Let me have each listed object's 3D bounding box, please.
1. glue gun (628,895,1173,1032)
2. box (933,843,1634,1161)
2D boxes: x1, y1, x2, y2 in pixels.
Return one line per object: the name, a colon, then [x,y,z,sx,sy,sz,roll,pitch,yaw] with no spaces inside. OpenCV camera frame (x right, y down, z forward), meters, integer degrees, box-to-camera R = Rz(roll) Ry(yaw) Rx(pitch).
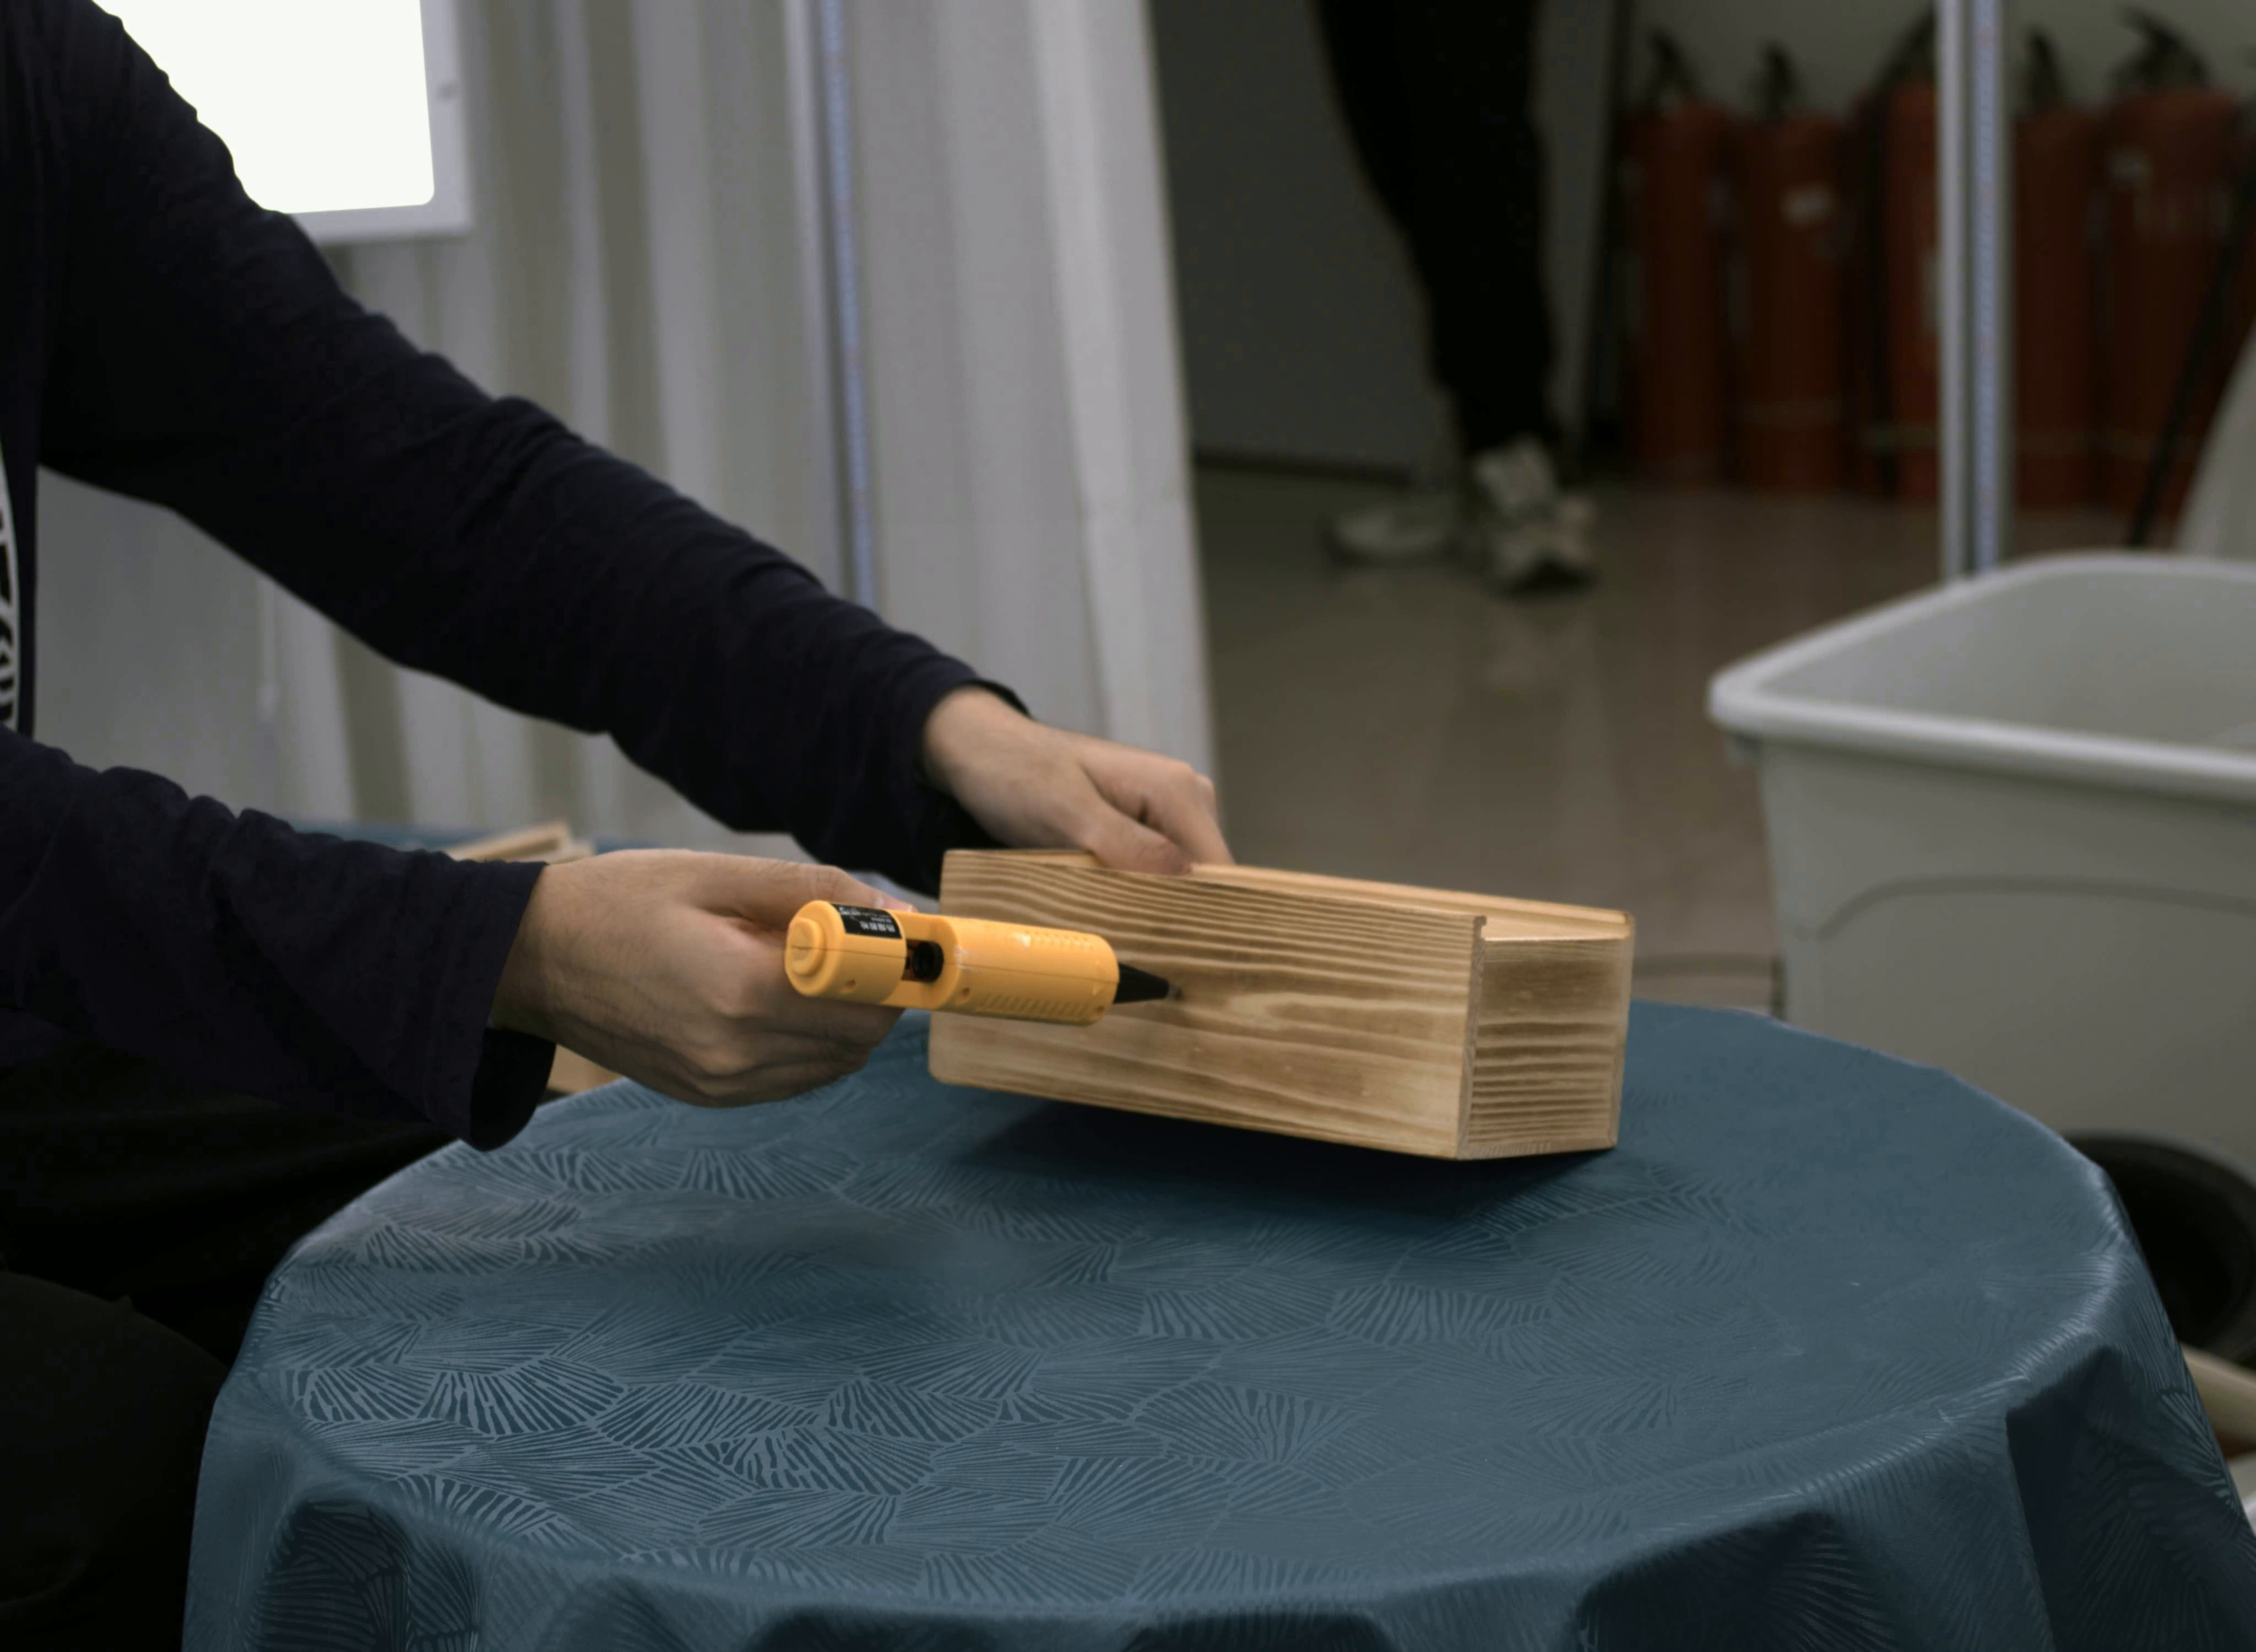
glue gun: [-0.068,0.050,1.759,0.148,0.031,0.134,9,-9,-31]
box: [0.050,0.057,1.805,0.213,0.081,0.105,7,3,36]
